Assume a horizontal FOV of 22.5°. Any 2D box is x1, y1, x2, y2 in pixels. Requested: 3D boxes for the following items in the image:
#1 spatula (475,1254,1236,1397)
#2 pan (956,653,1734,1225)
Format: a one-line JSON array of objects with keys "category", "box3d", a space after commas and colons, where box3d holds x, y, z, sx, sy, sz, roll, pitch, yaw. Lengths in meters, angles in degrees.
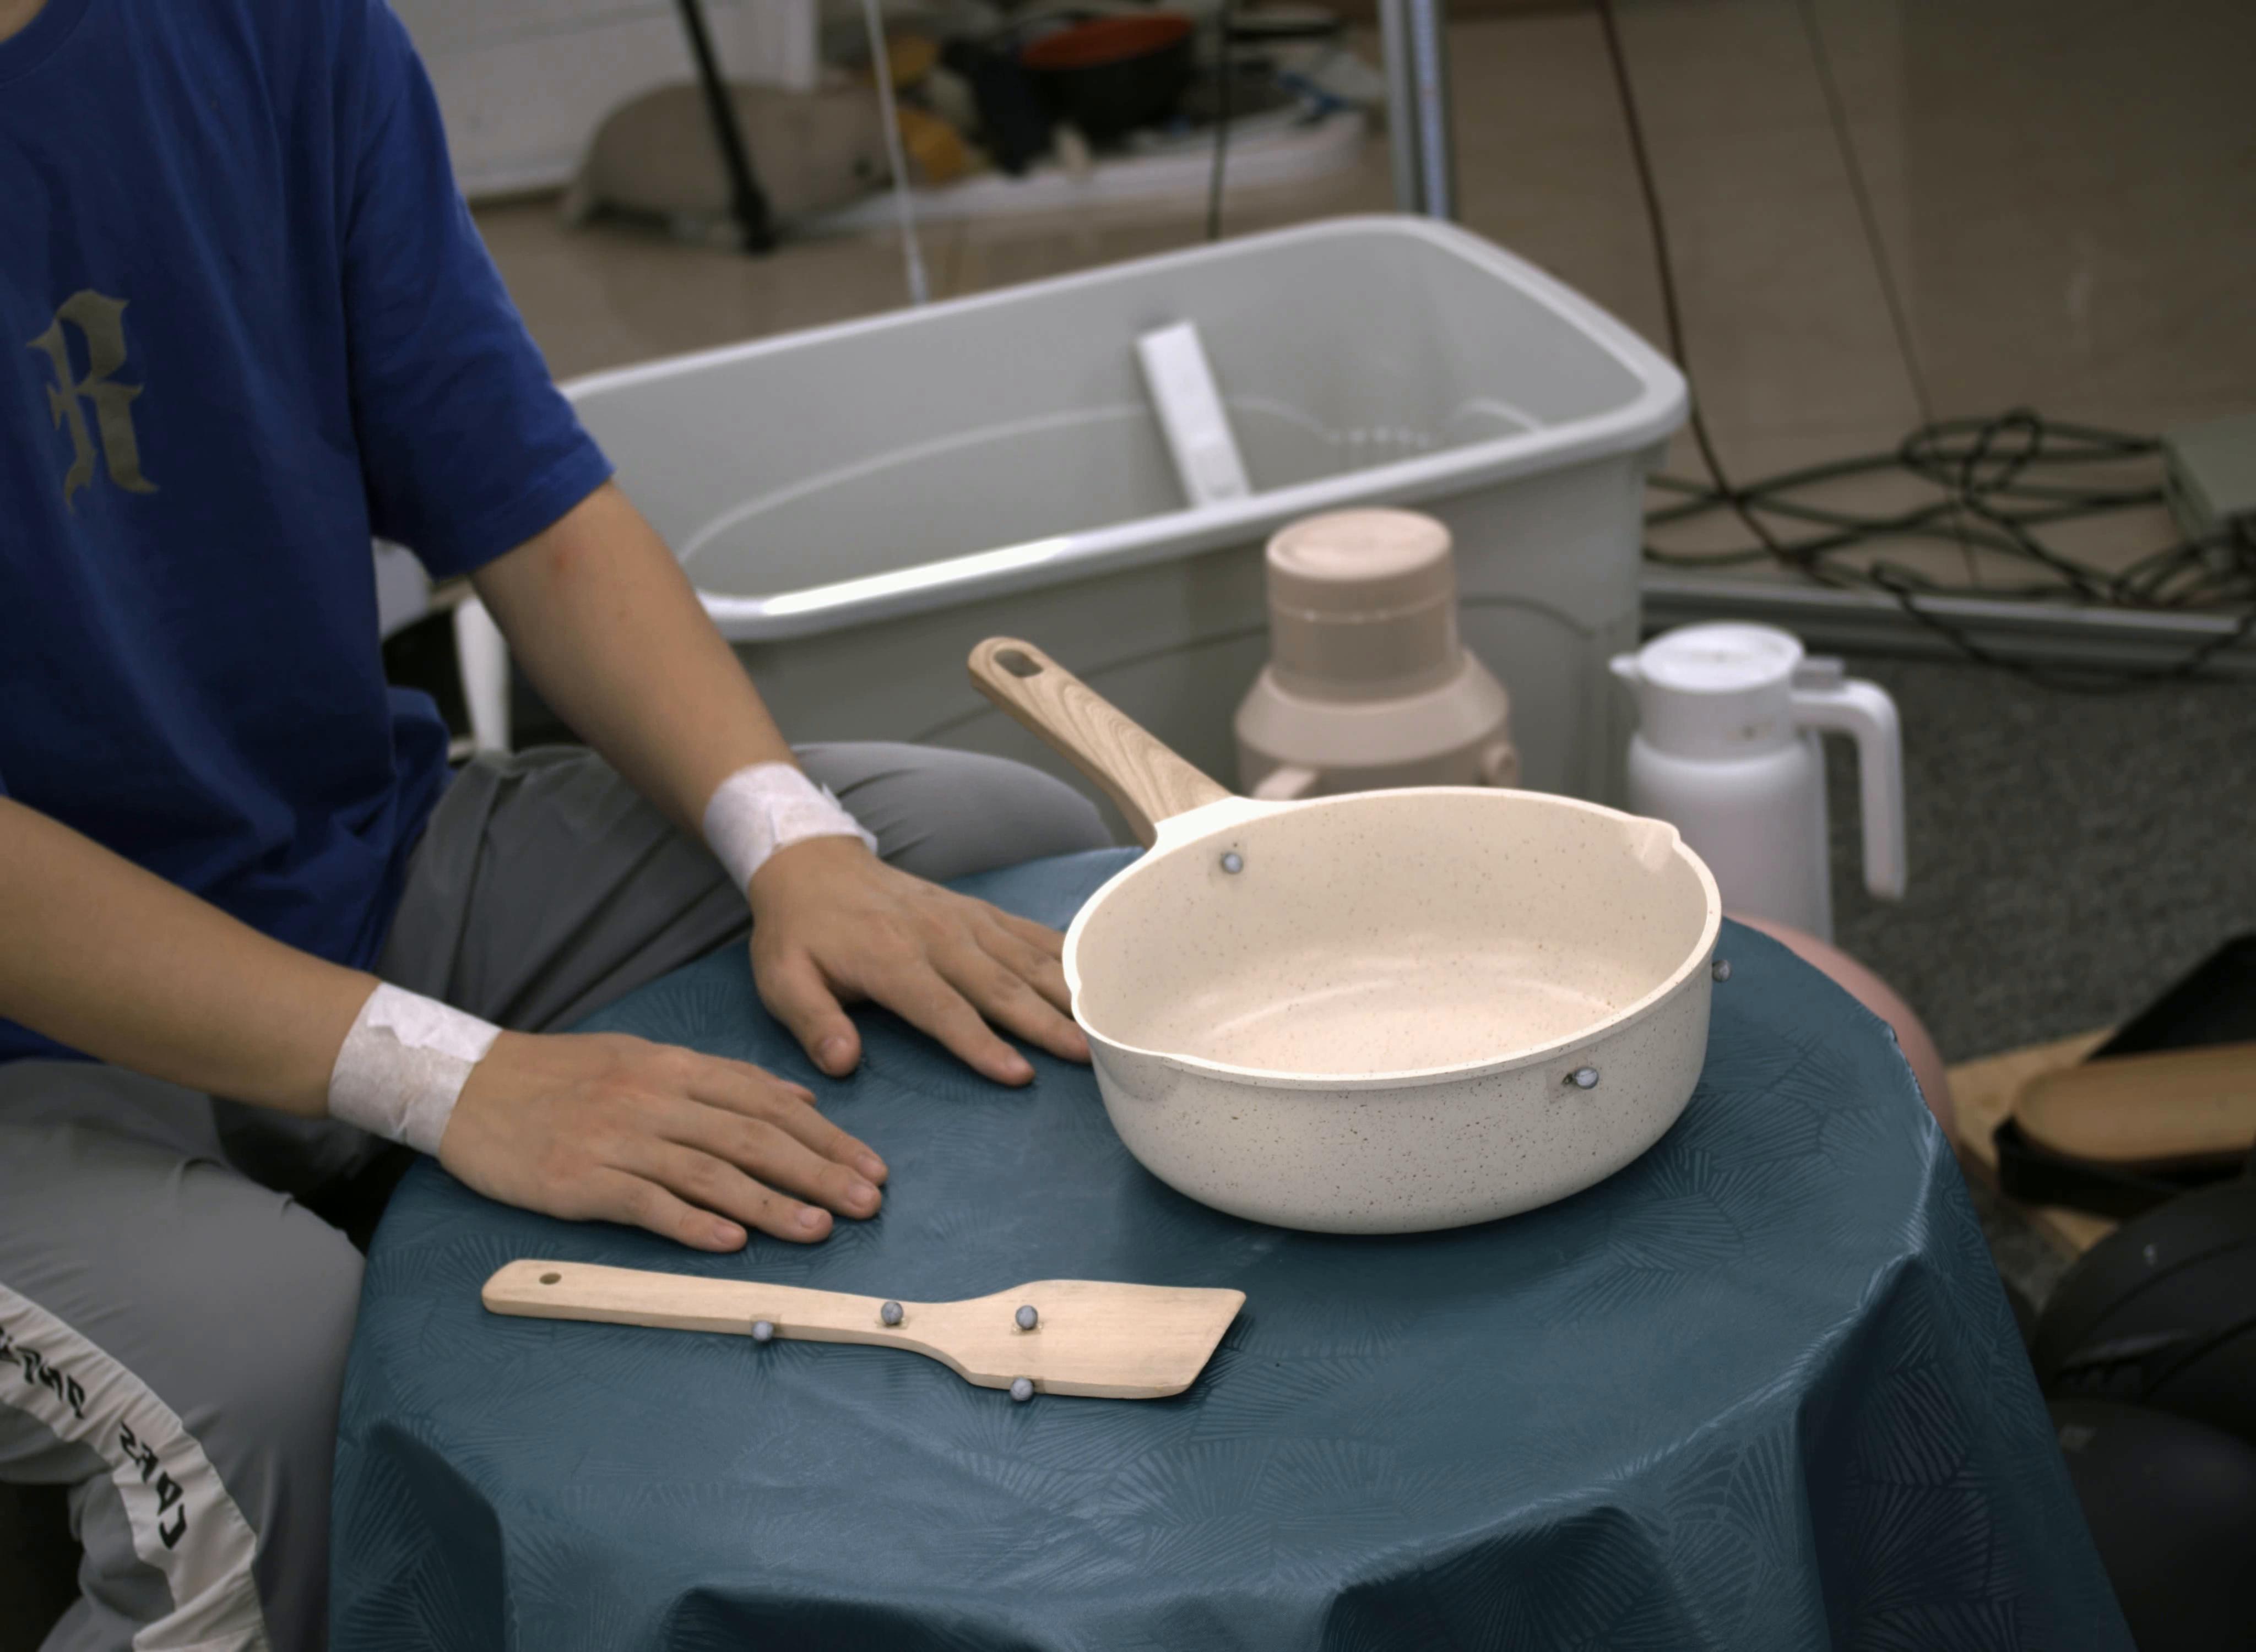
[{"category": "spatula", "box3d": [-0.107, 0.178, 2.077, 0.292, 0.011, 0.071, 3, 28, 20]}, {"category": "pan", "box3d": [0.059, 0.036, 2.233, 0.262, 0.103, 0.430, -22, 28, -26]}]
